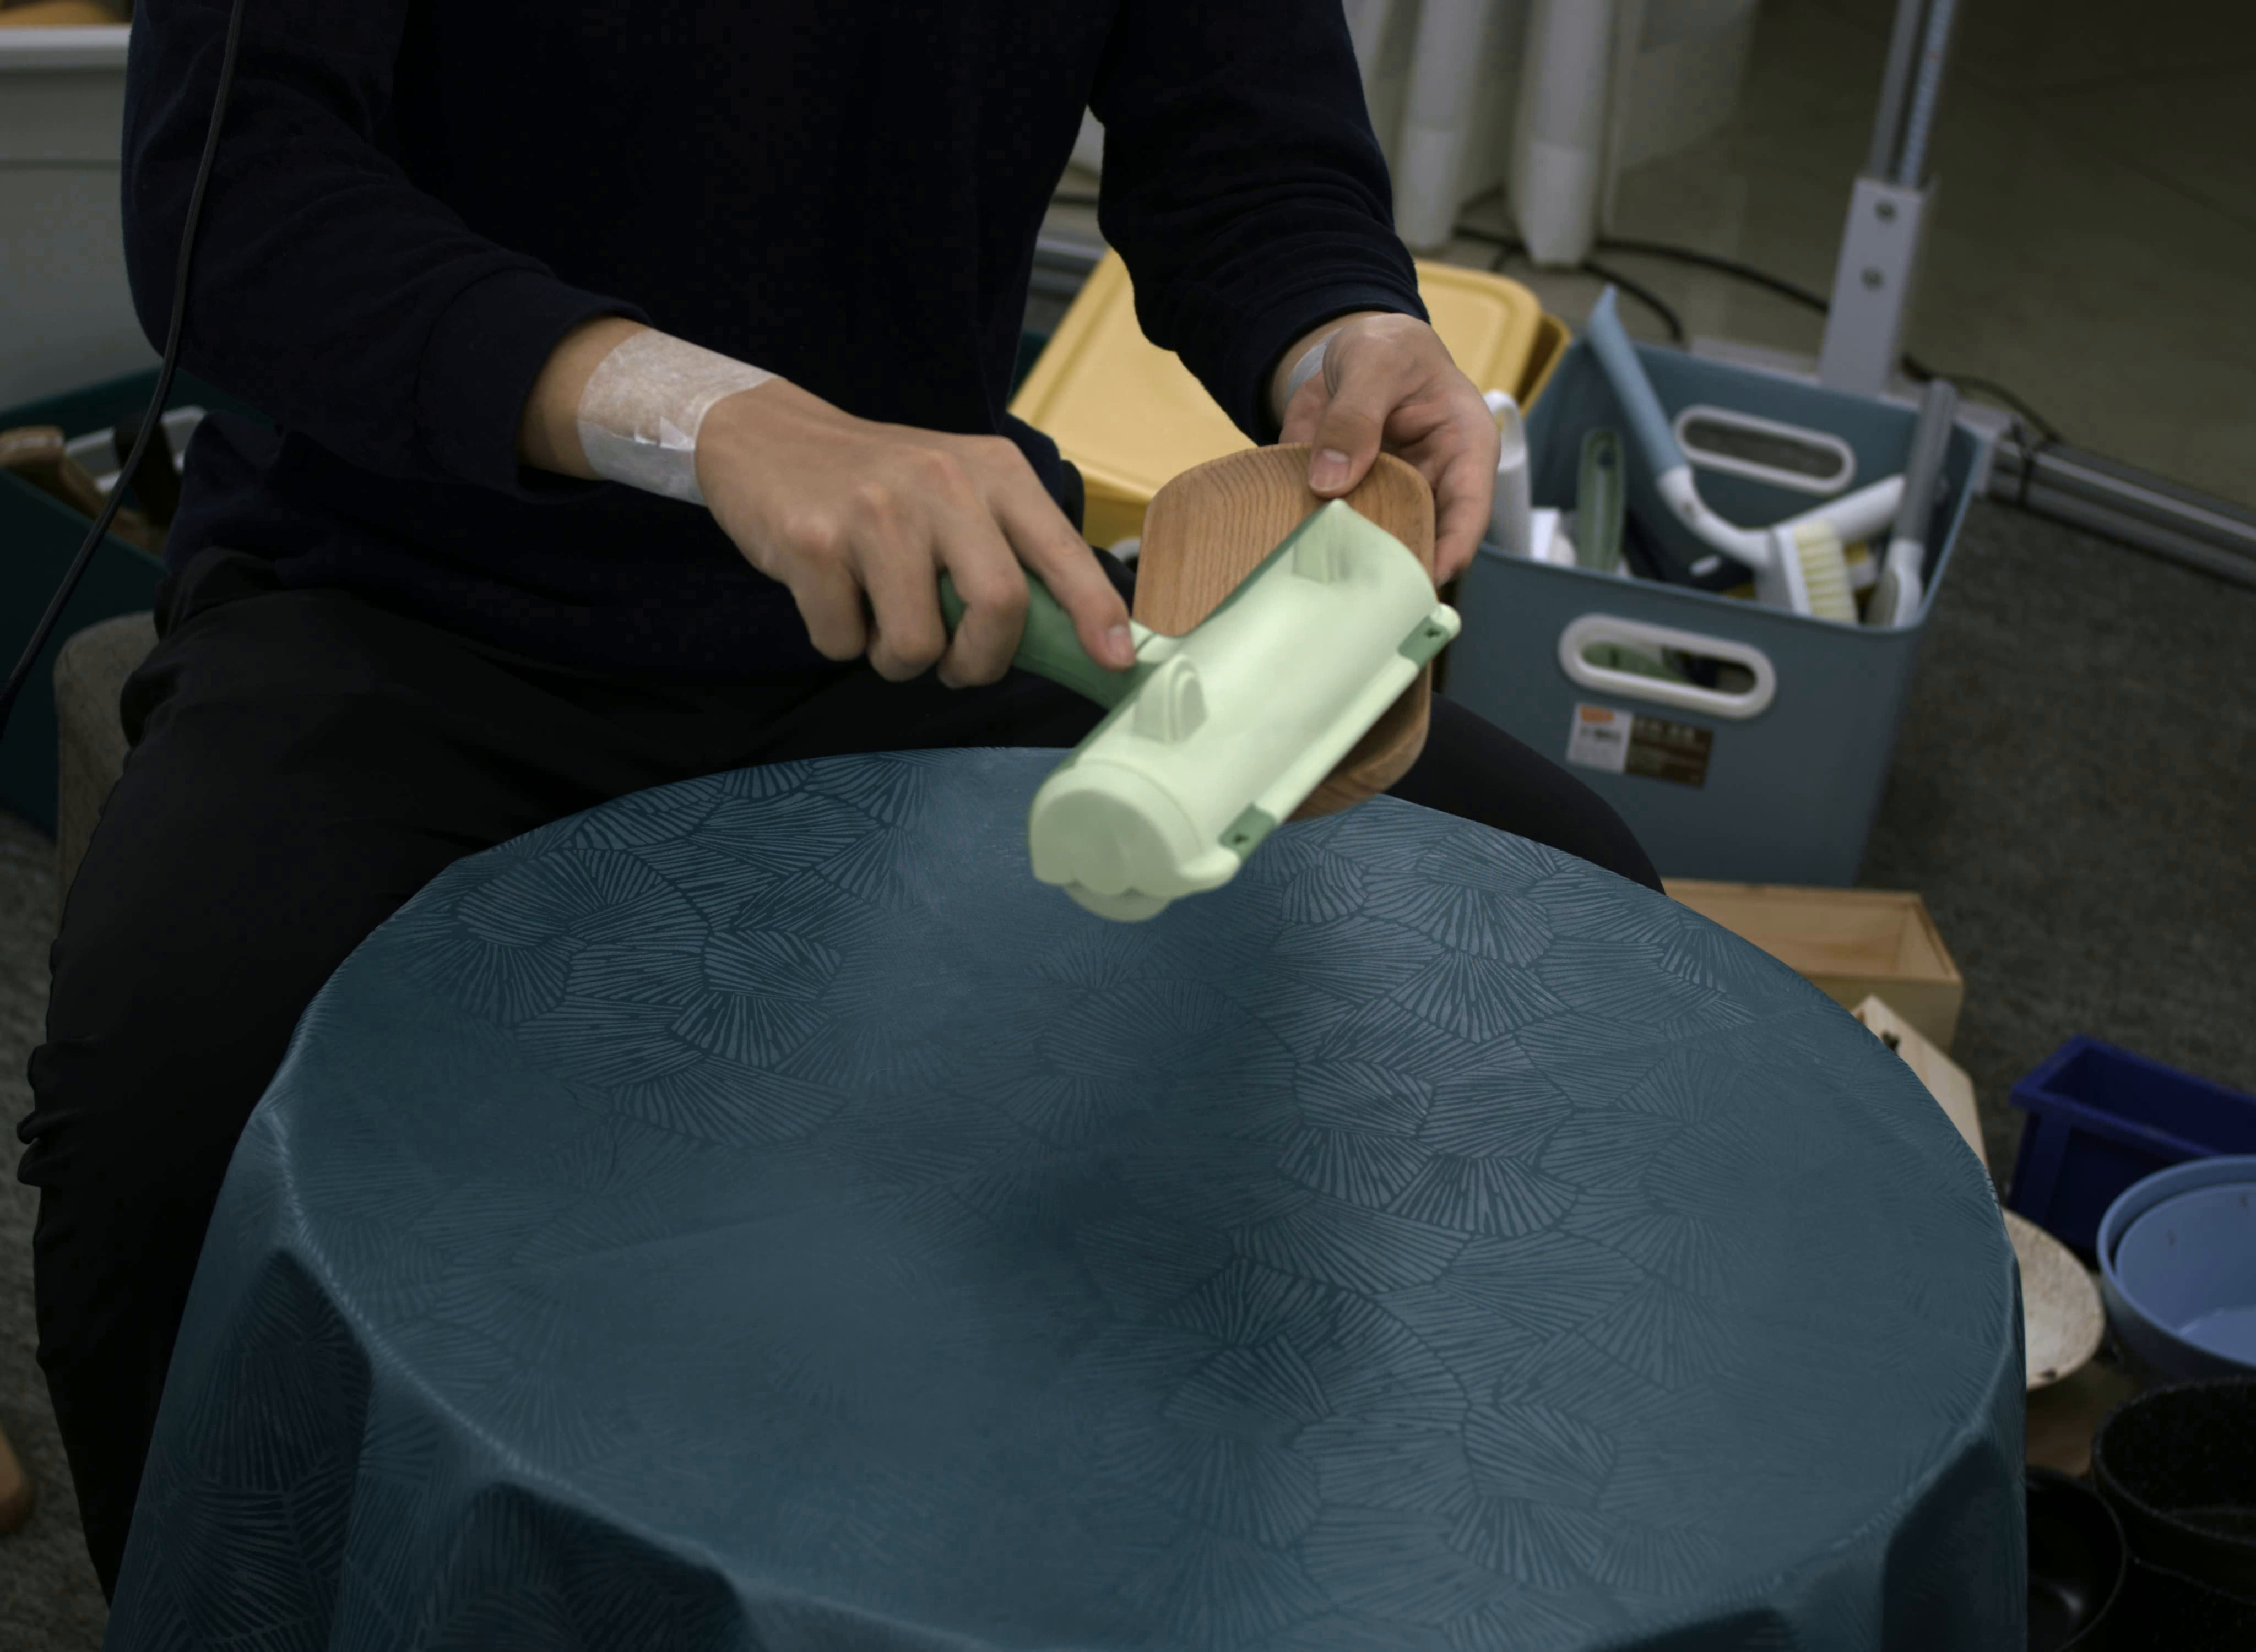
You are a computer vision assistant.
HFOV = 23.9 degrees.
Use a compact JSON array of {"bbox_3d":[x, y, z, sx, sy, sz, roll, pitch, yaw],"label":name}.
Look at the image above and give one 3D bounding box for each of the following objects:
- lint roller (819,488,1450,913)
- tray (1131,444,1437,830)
[{"bbox_3d":[-0.010,-0.074,1.661,0.183,0.082,0.198,33,37,9],"label":"lint roller"},{"bbox_3d":[0.051,-0.065,1.760,0.101,0.020,0.232,-5,33,7],"label":"tray"}]
